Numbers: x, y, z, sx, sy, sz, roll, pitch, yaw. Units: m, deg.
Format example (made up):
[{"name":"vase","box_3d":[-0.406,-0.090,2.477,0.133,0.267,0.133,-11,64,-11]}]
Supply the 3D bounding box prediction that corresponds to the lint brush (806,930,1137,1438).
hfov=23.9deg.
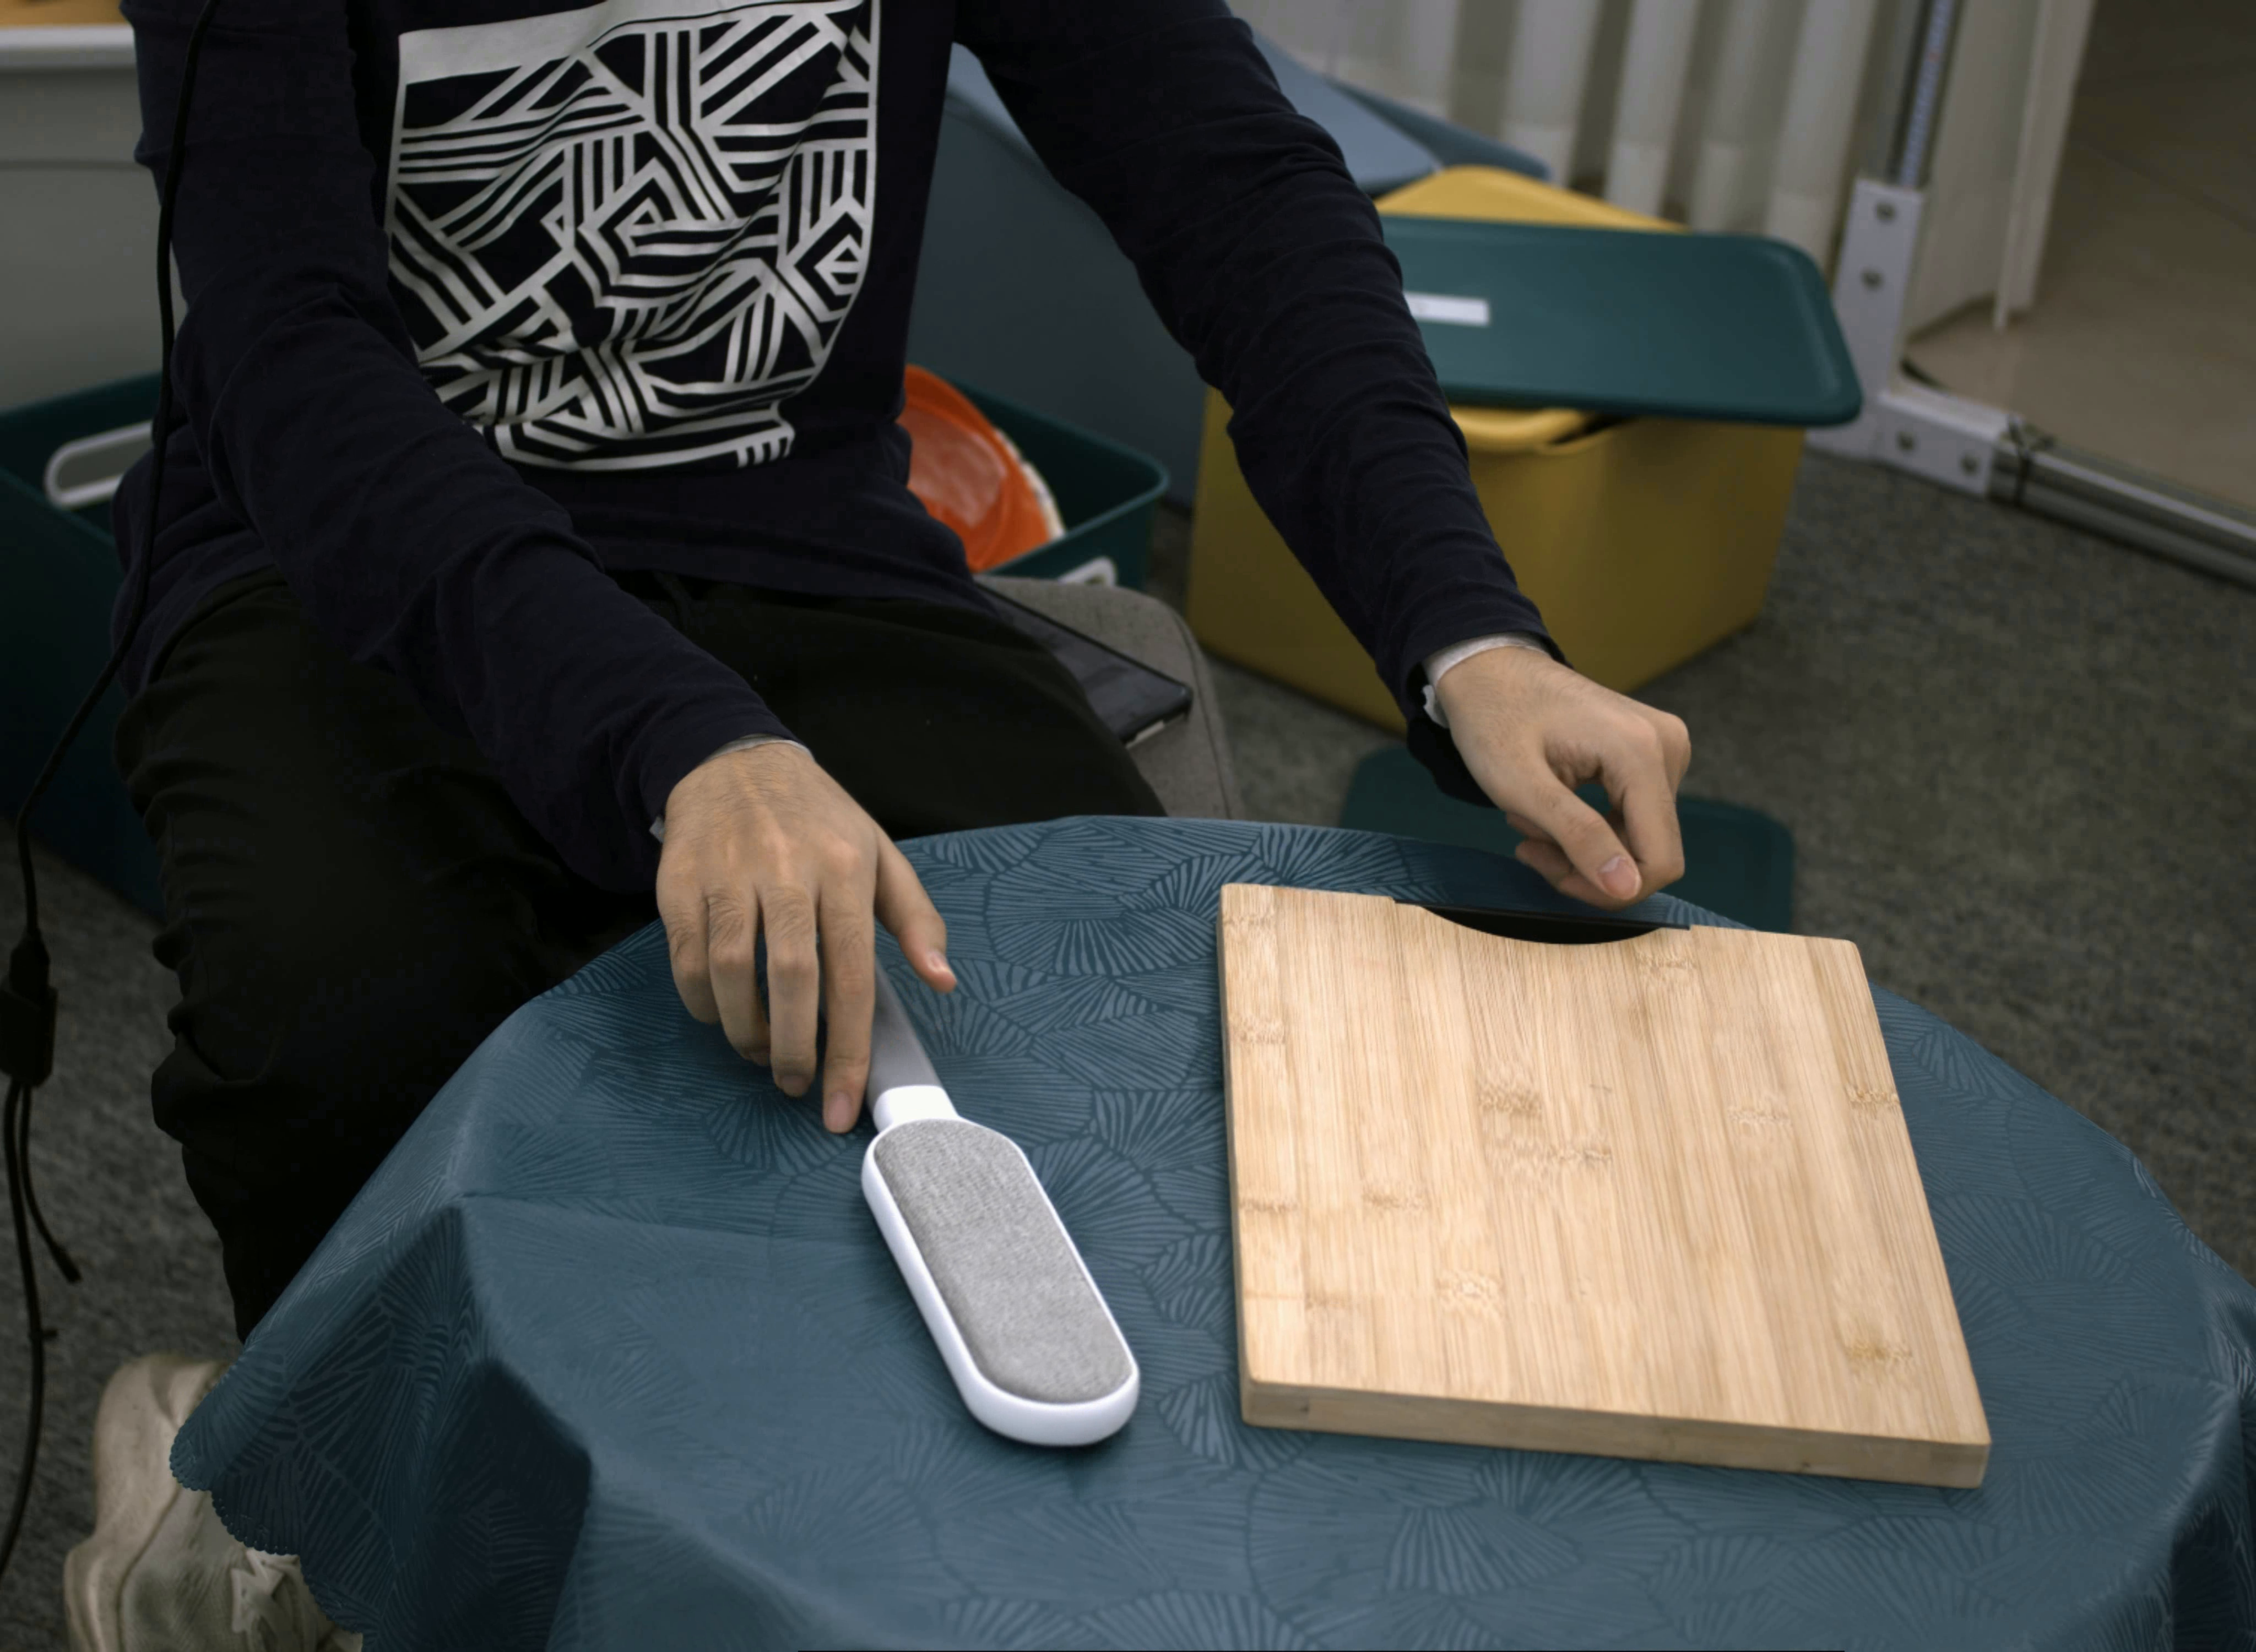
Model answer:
[{"name":"lint brush","box_3d":[-0.060,0.114,1.780,0.060,0.021,0.311,-7,29,-15]}]

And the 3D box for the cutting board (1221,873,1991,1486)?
[{"name":"cutting board","box_3d":[0.155,0.115,1.841,0.250,0.023,0.351,5,27,-4]}]
